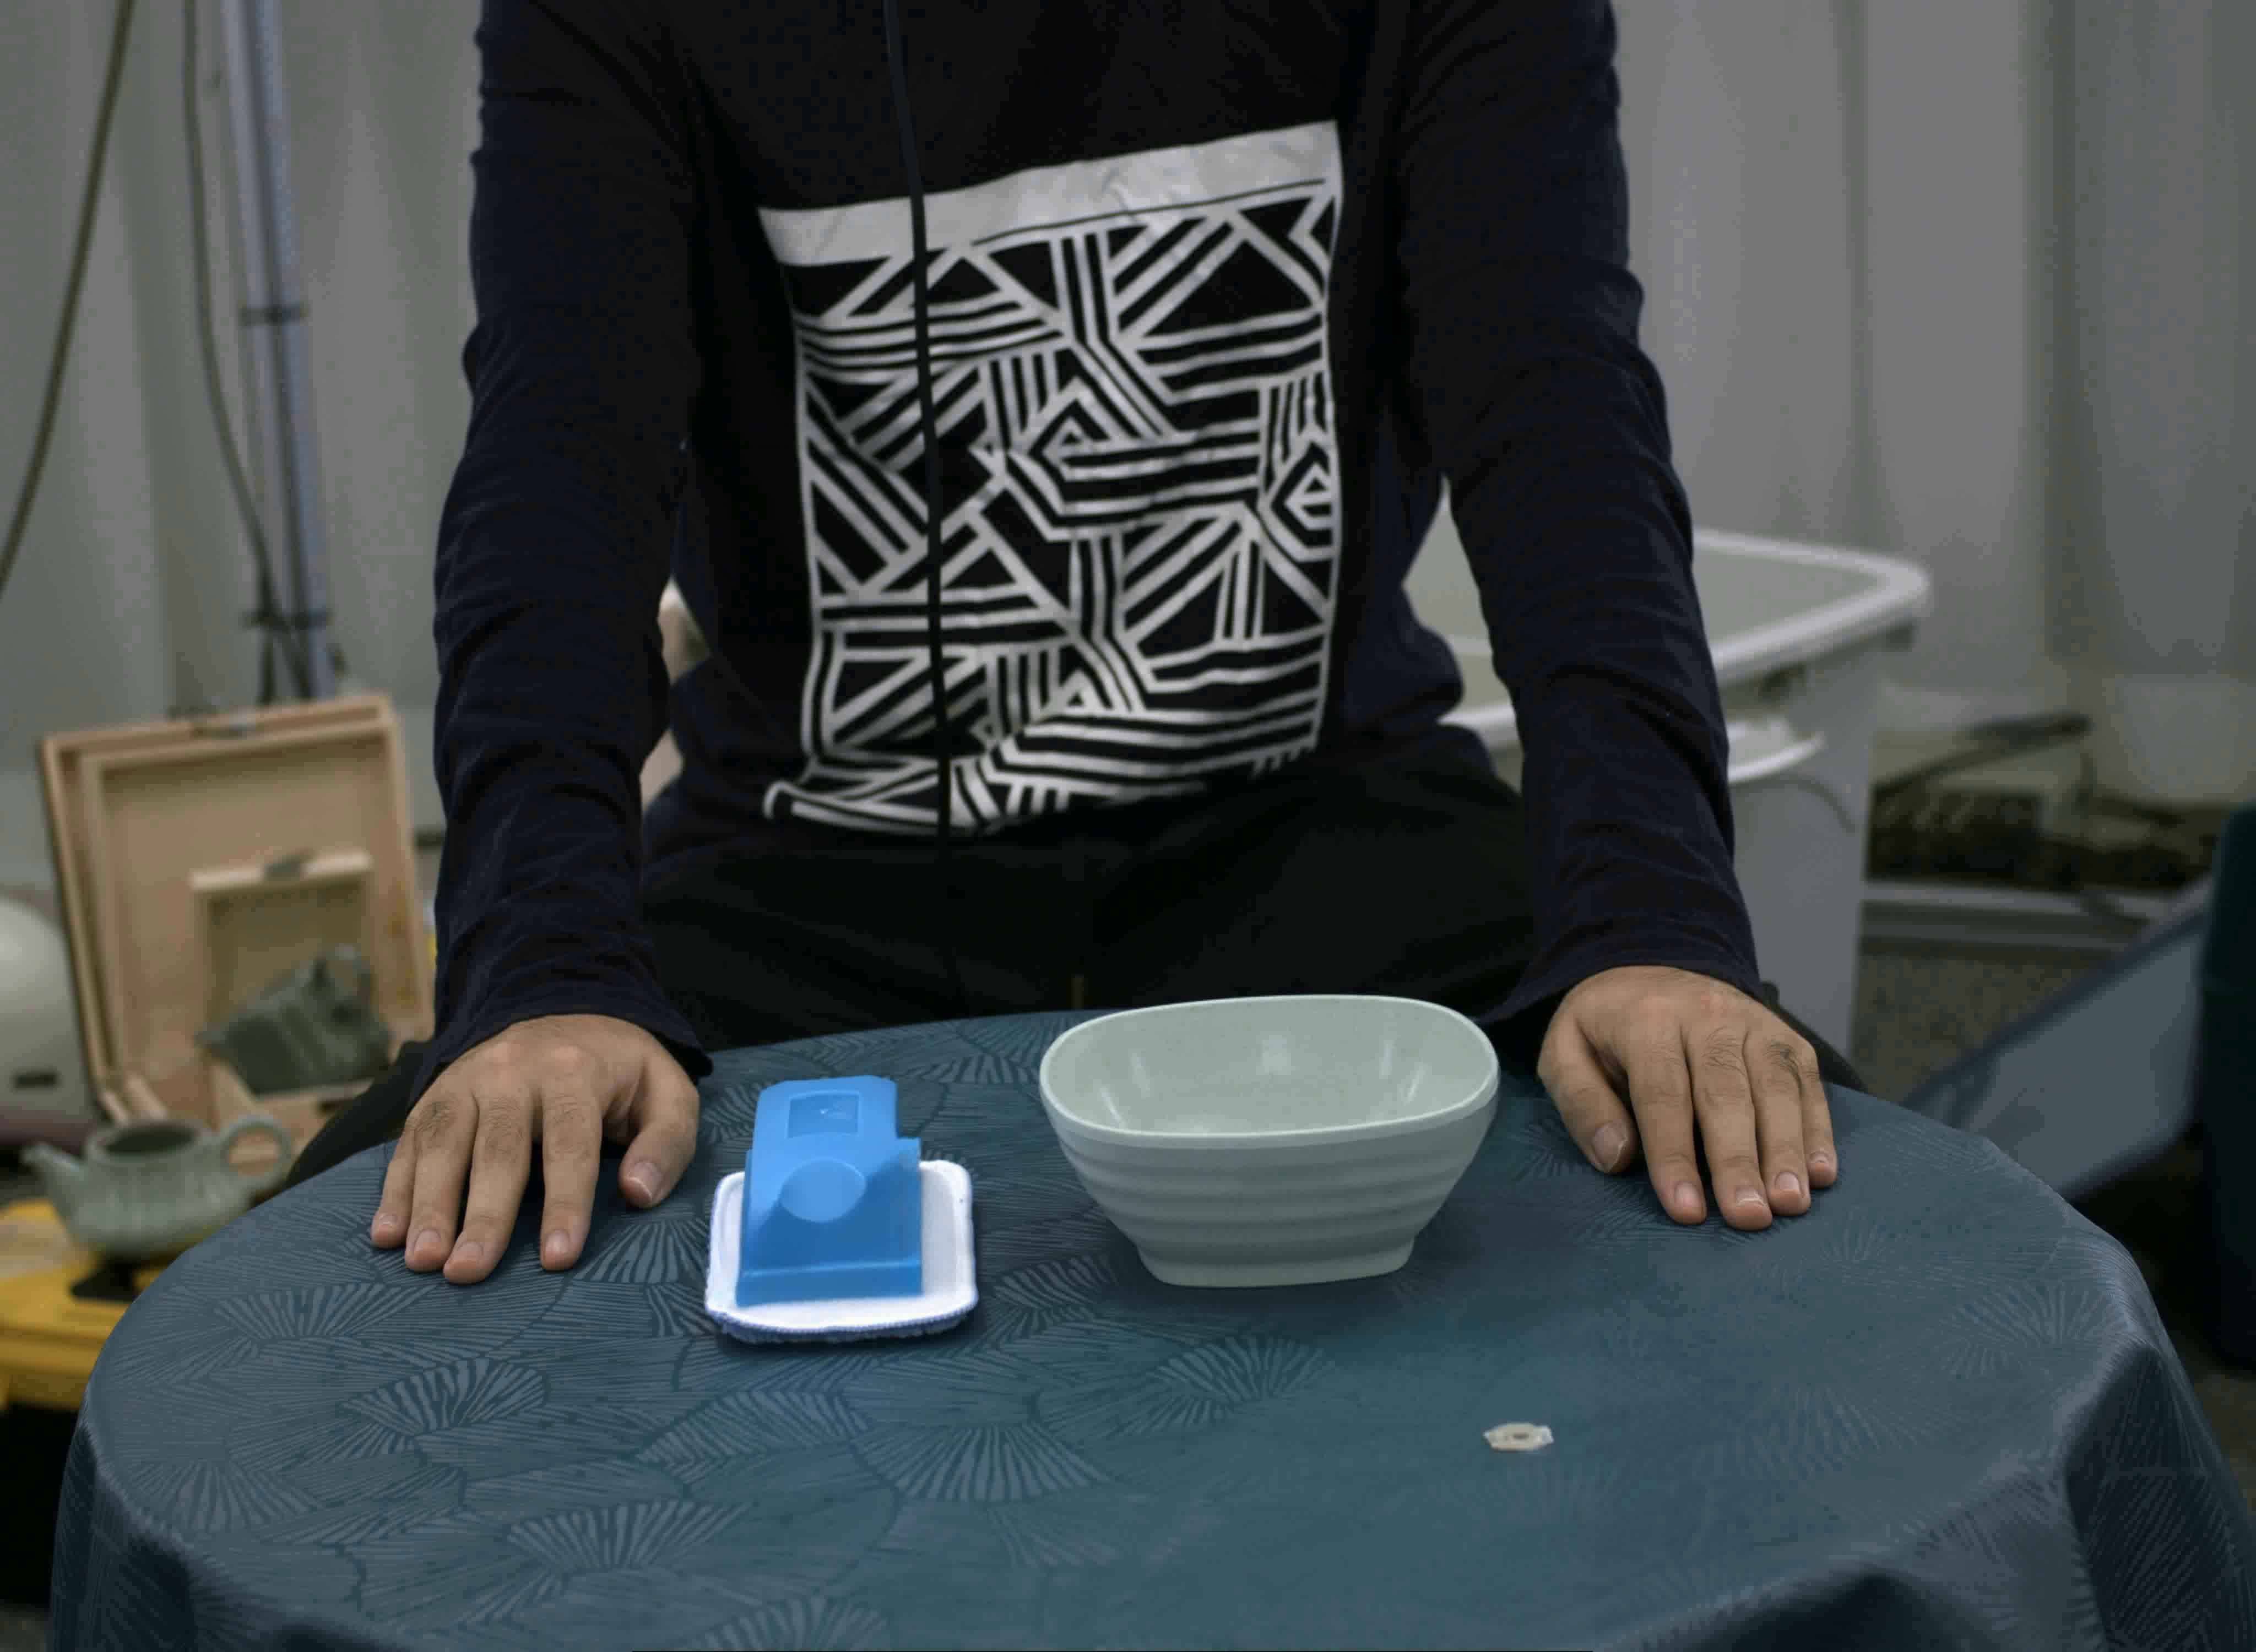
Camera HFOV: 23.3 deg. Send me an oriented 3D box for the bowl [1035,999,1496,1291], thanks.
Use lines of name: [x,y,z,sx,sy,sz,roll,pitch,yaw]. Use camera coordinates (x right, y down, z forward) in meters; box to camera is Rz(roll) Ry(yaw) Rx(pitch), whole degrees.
bowl: [0.042,0.100,1.658,0.151,0.058,0.152,-1,15,0]

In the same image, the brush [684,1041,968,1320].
brush: [-0.090,0.104,1.655,0.083,0.055,0.145,1,16,-1]
